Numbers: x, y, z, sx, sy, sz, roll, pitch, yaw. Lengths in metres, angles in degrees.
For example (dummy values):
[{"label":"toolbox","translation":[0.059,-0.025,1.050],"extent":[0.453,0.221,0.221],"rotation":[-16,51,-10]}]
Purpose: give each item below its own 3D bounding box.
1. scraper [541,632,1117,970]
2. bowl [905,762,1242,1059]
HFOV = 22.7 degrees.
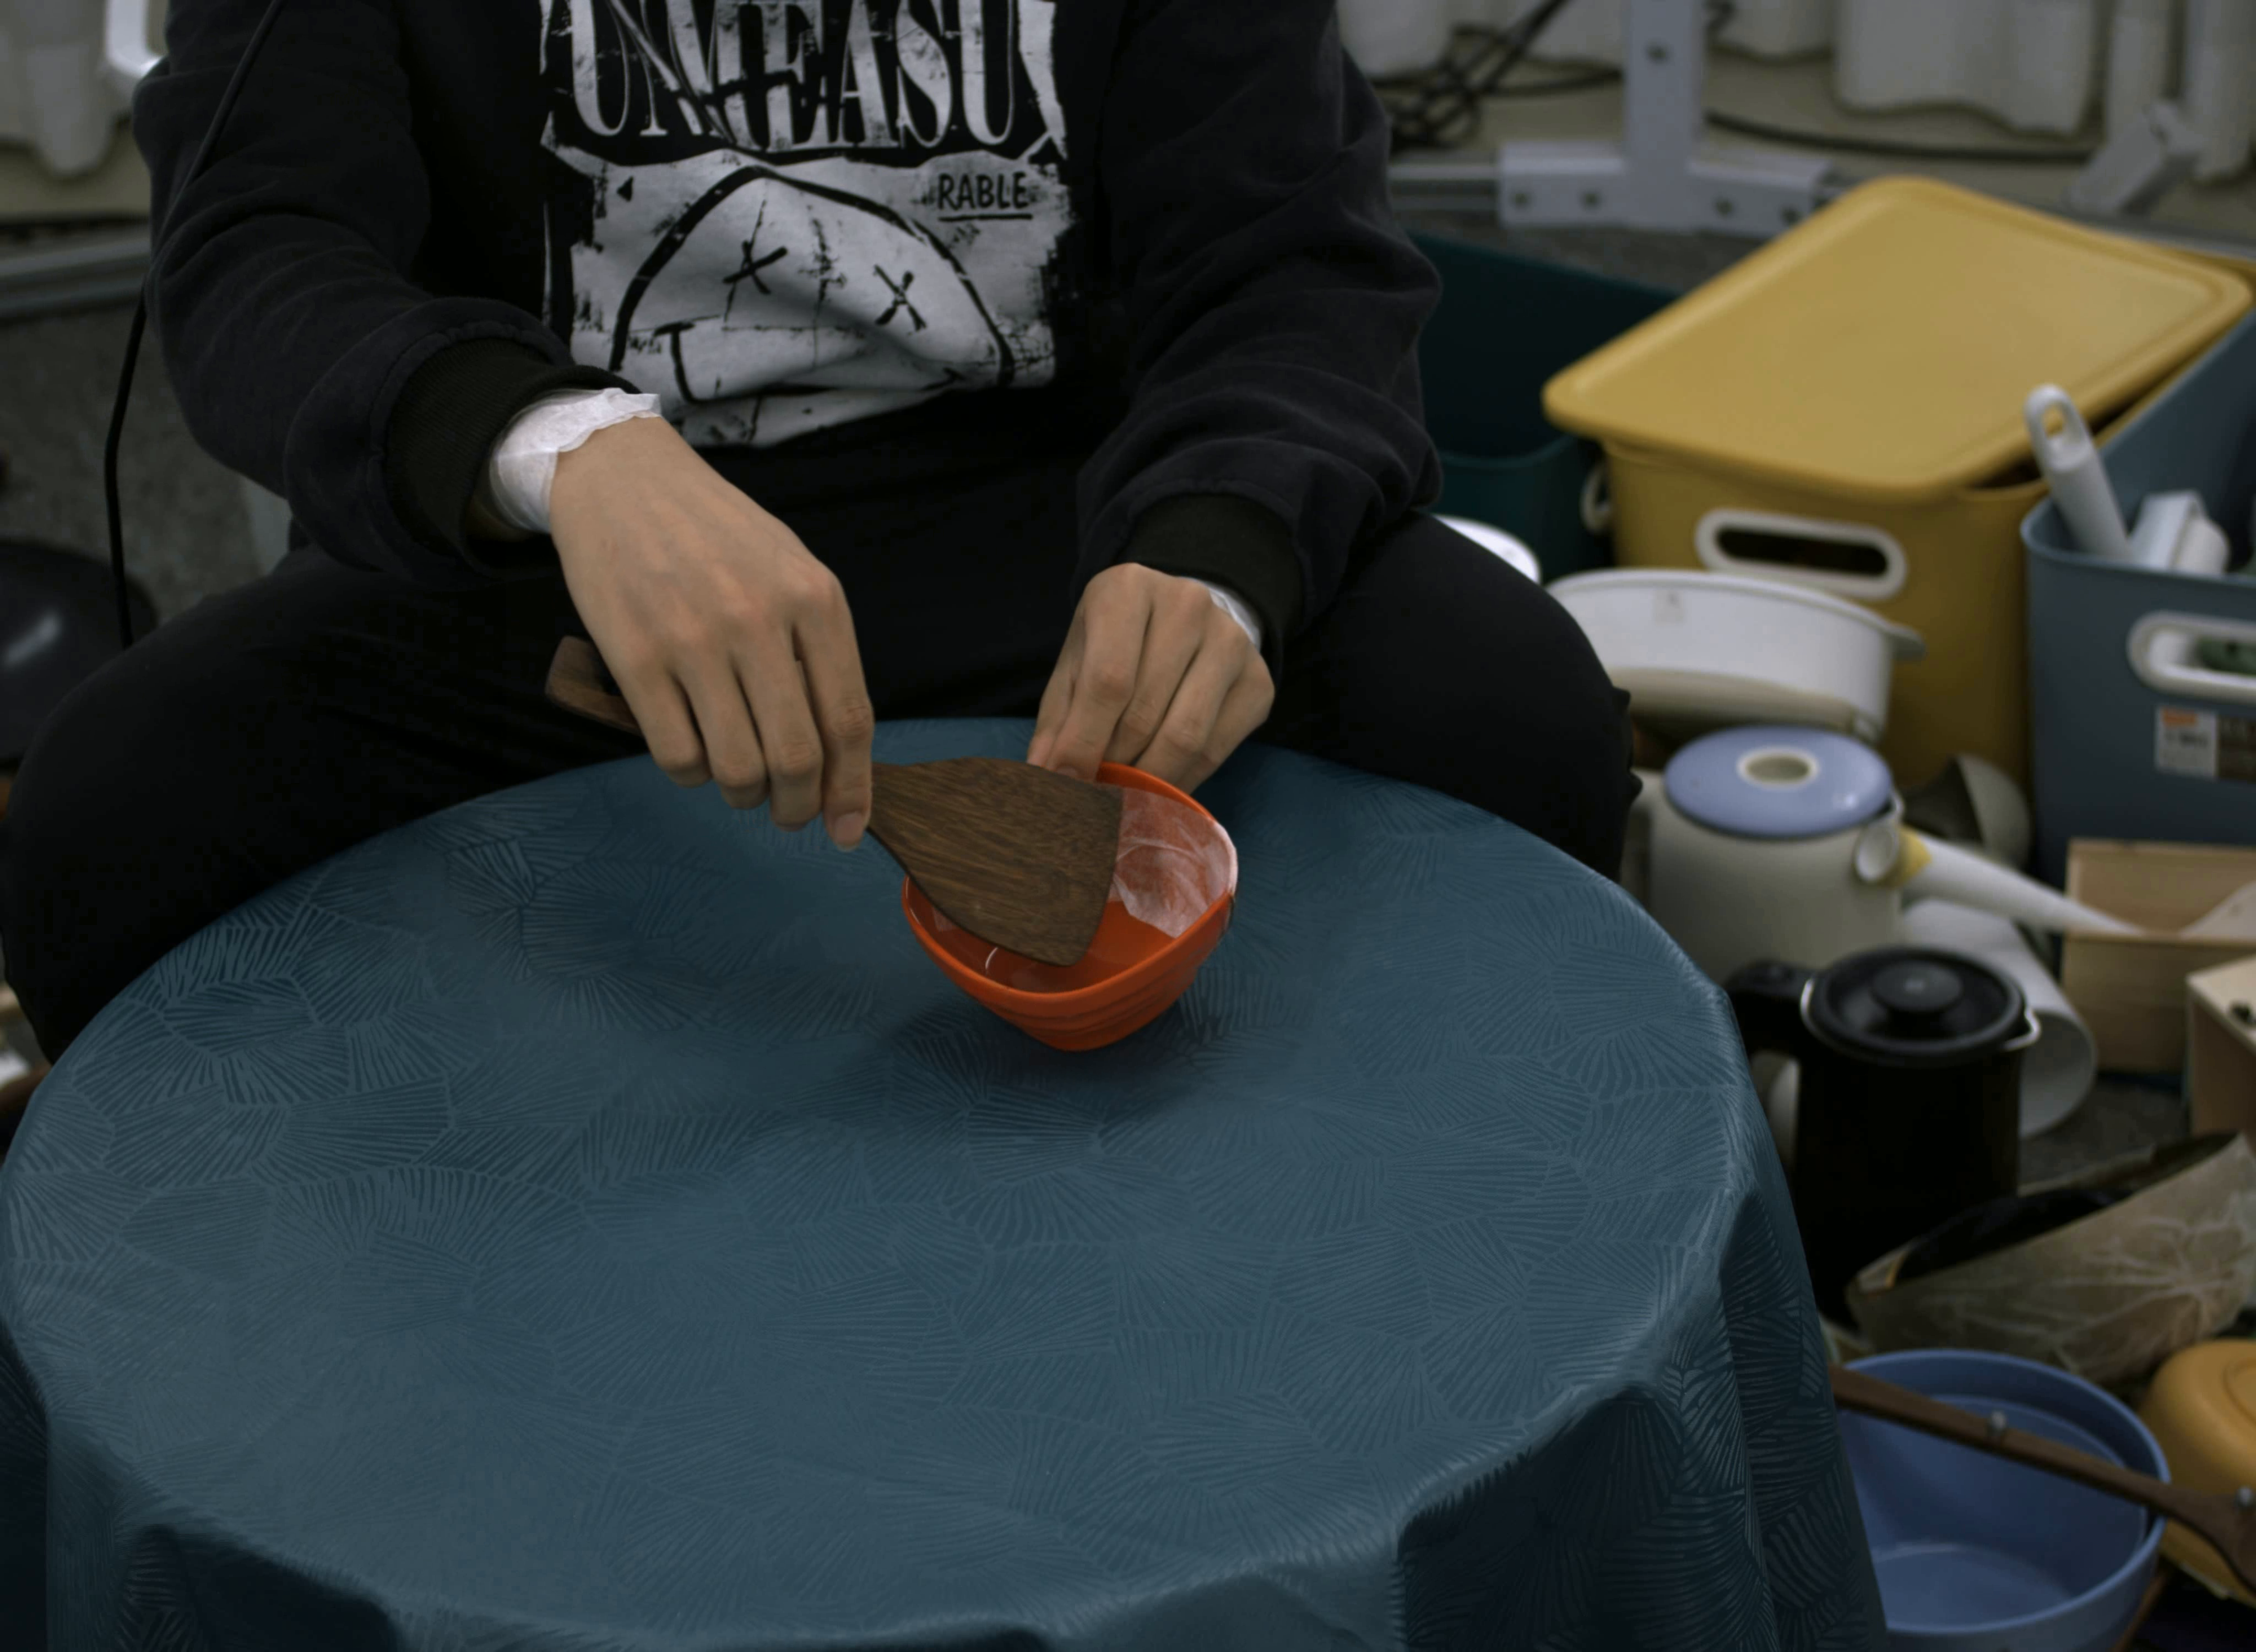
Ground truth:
[{"label":"scraper","translation":[-0.103,-0.016,1.928],"extent":[0.210,0.010,0.077],"rotation":[23,58,-13]},{"label":"bowl","translation":[-0.015,0.036,1.957],"extent":[0.118,0.050,0.121],"rotation":[-7,42,6]}]
